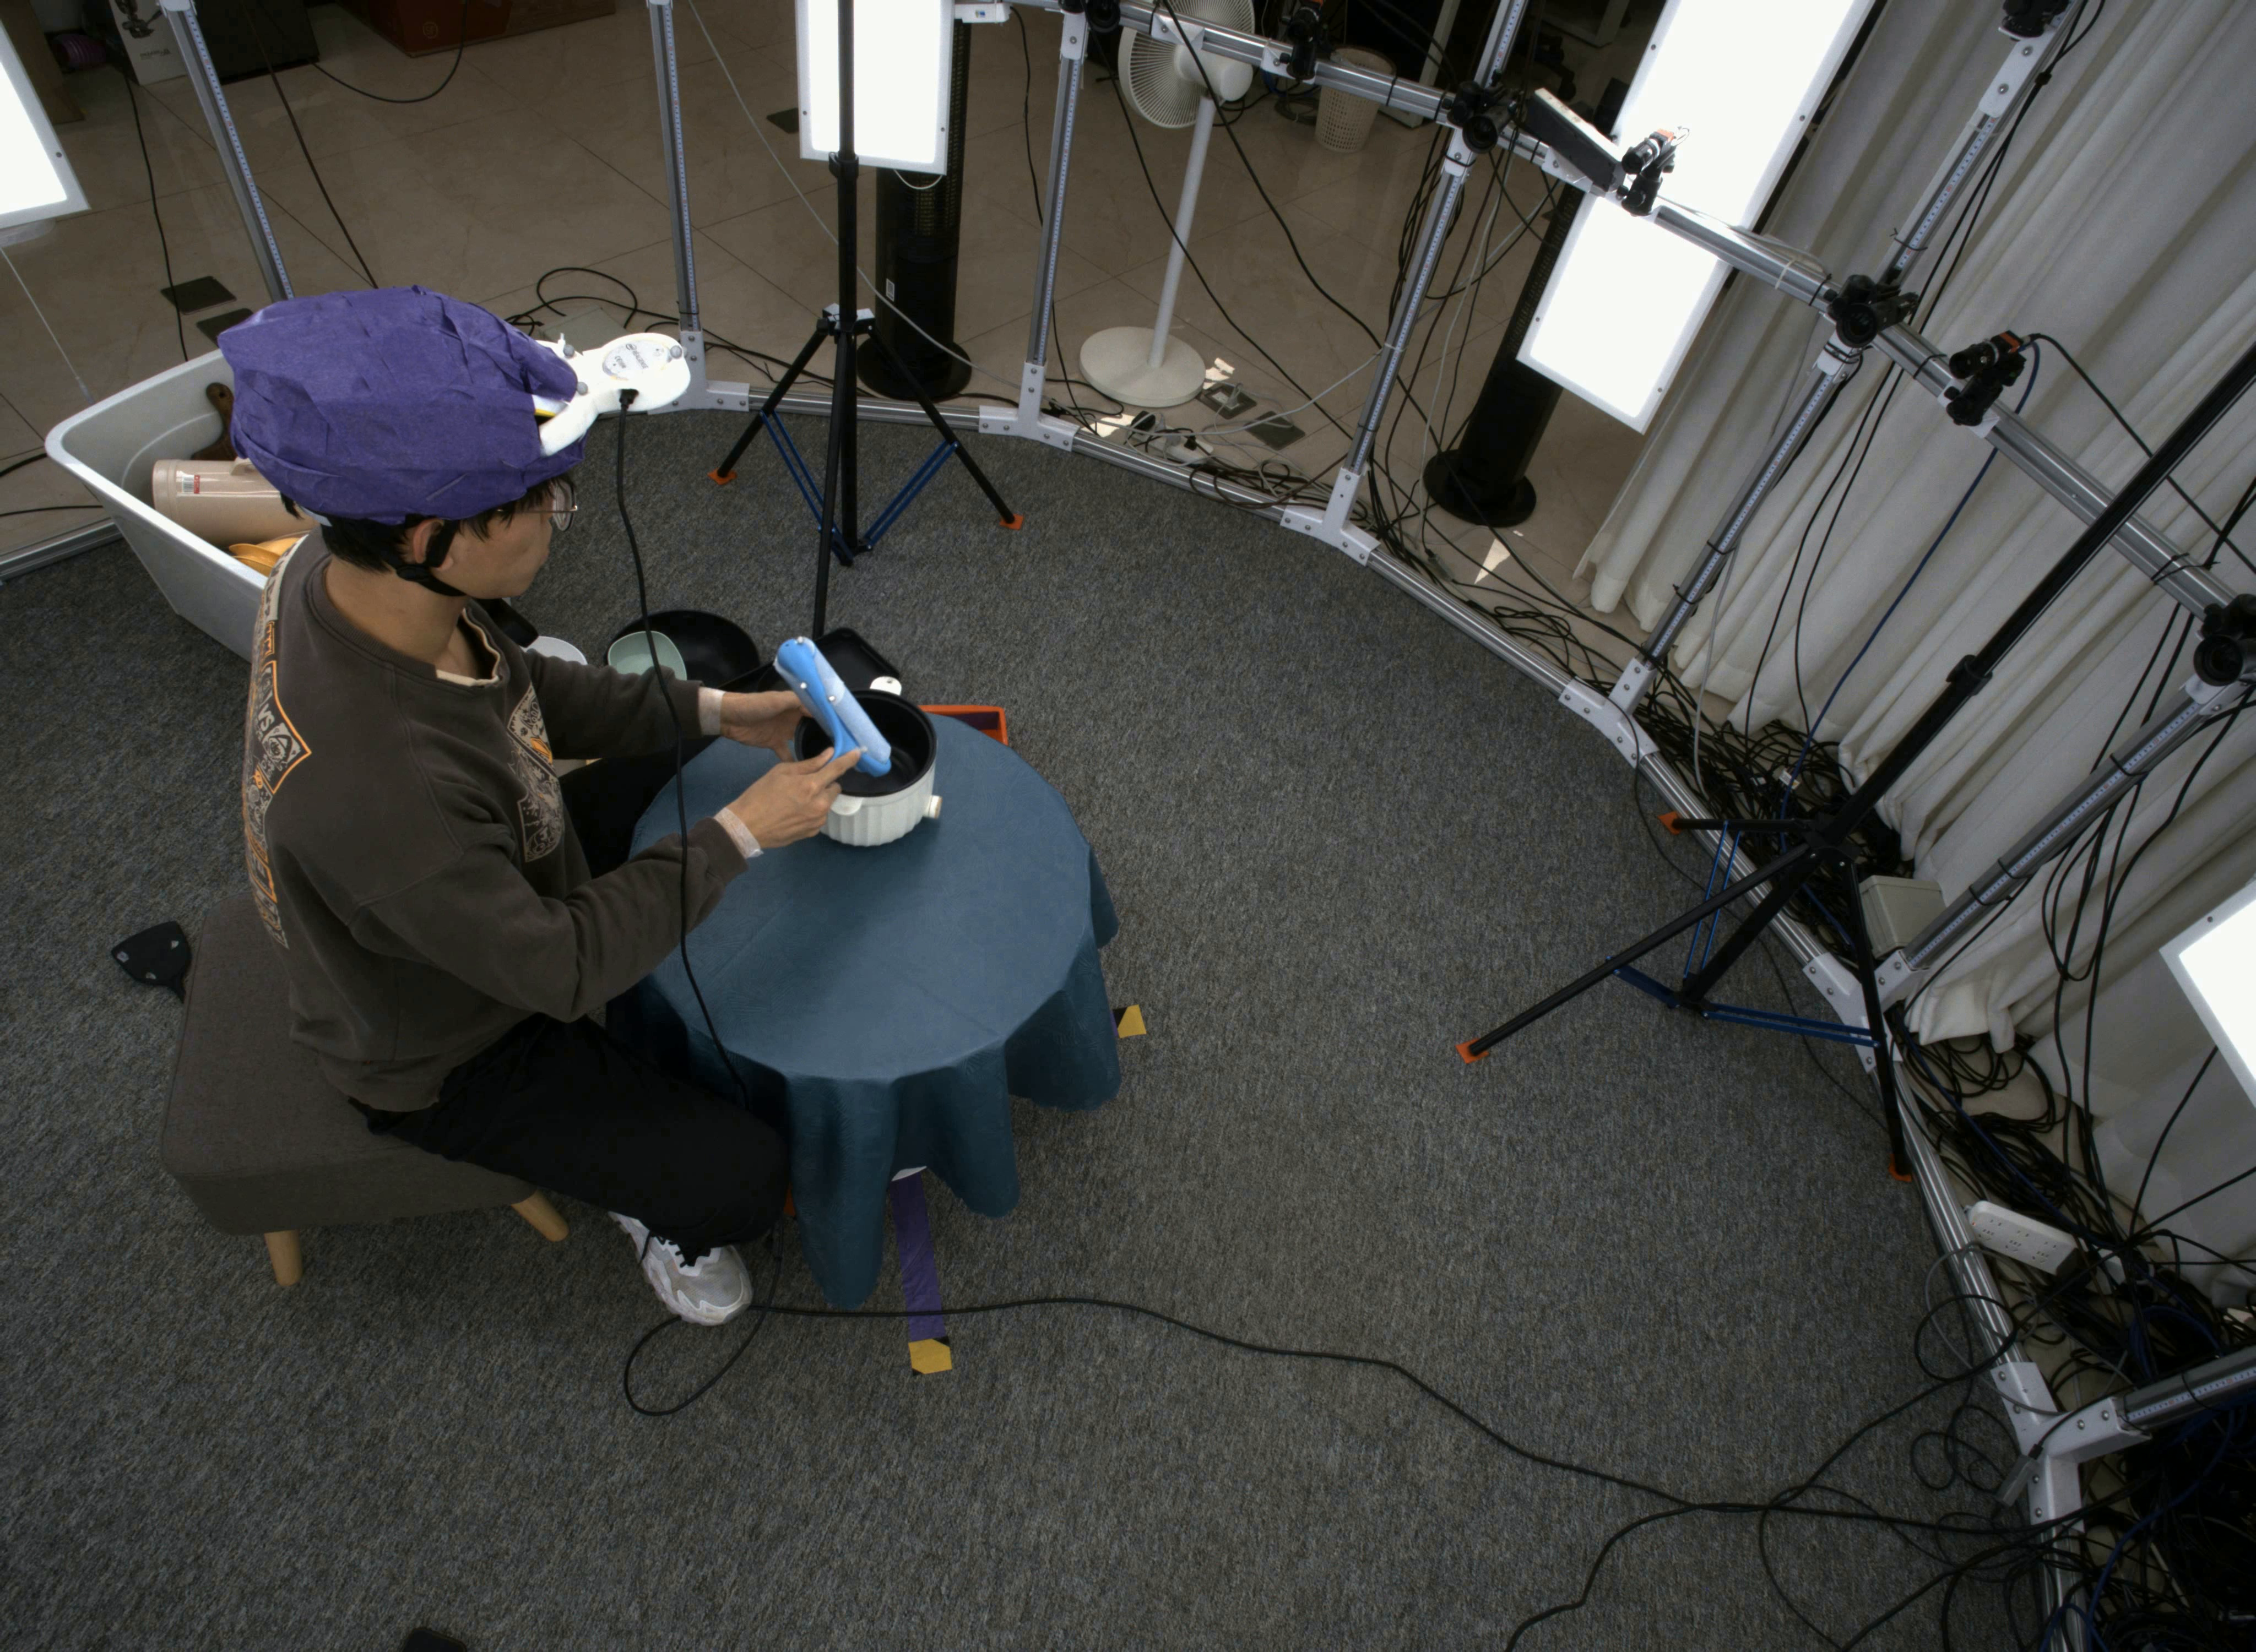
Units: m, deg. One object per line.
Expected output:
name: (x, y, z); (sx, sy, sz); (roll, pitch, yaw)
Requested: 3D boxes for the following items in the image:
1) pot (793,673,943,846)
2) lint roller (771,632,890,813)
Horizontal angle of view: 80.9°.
pot: (-0.341, -0.072, 1.722); (0.189, 0.146, 0.237); (9, 54, -1)
lint roller: (-0.358, -0.095, 1.523); (0.066, 0.237, 0.178); (-6, 58, 16)
